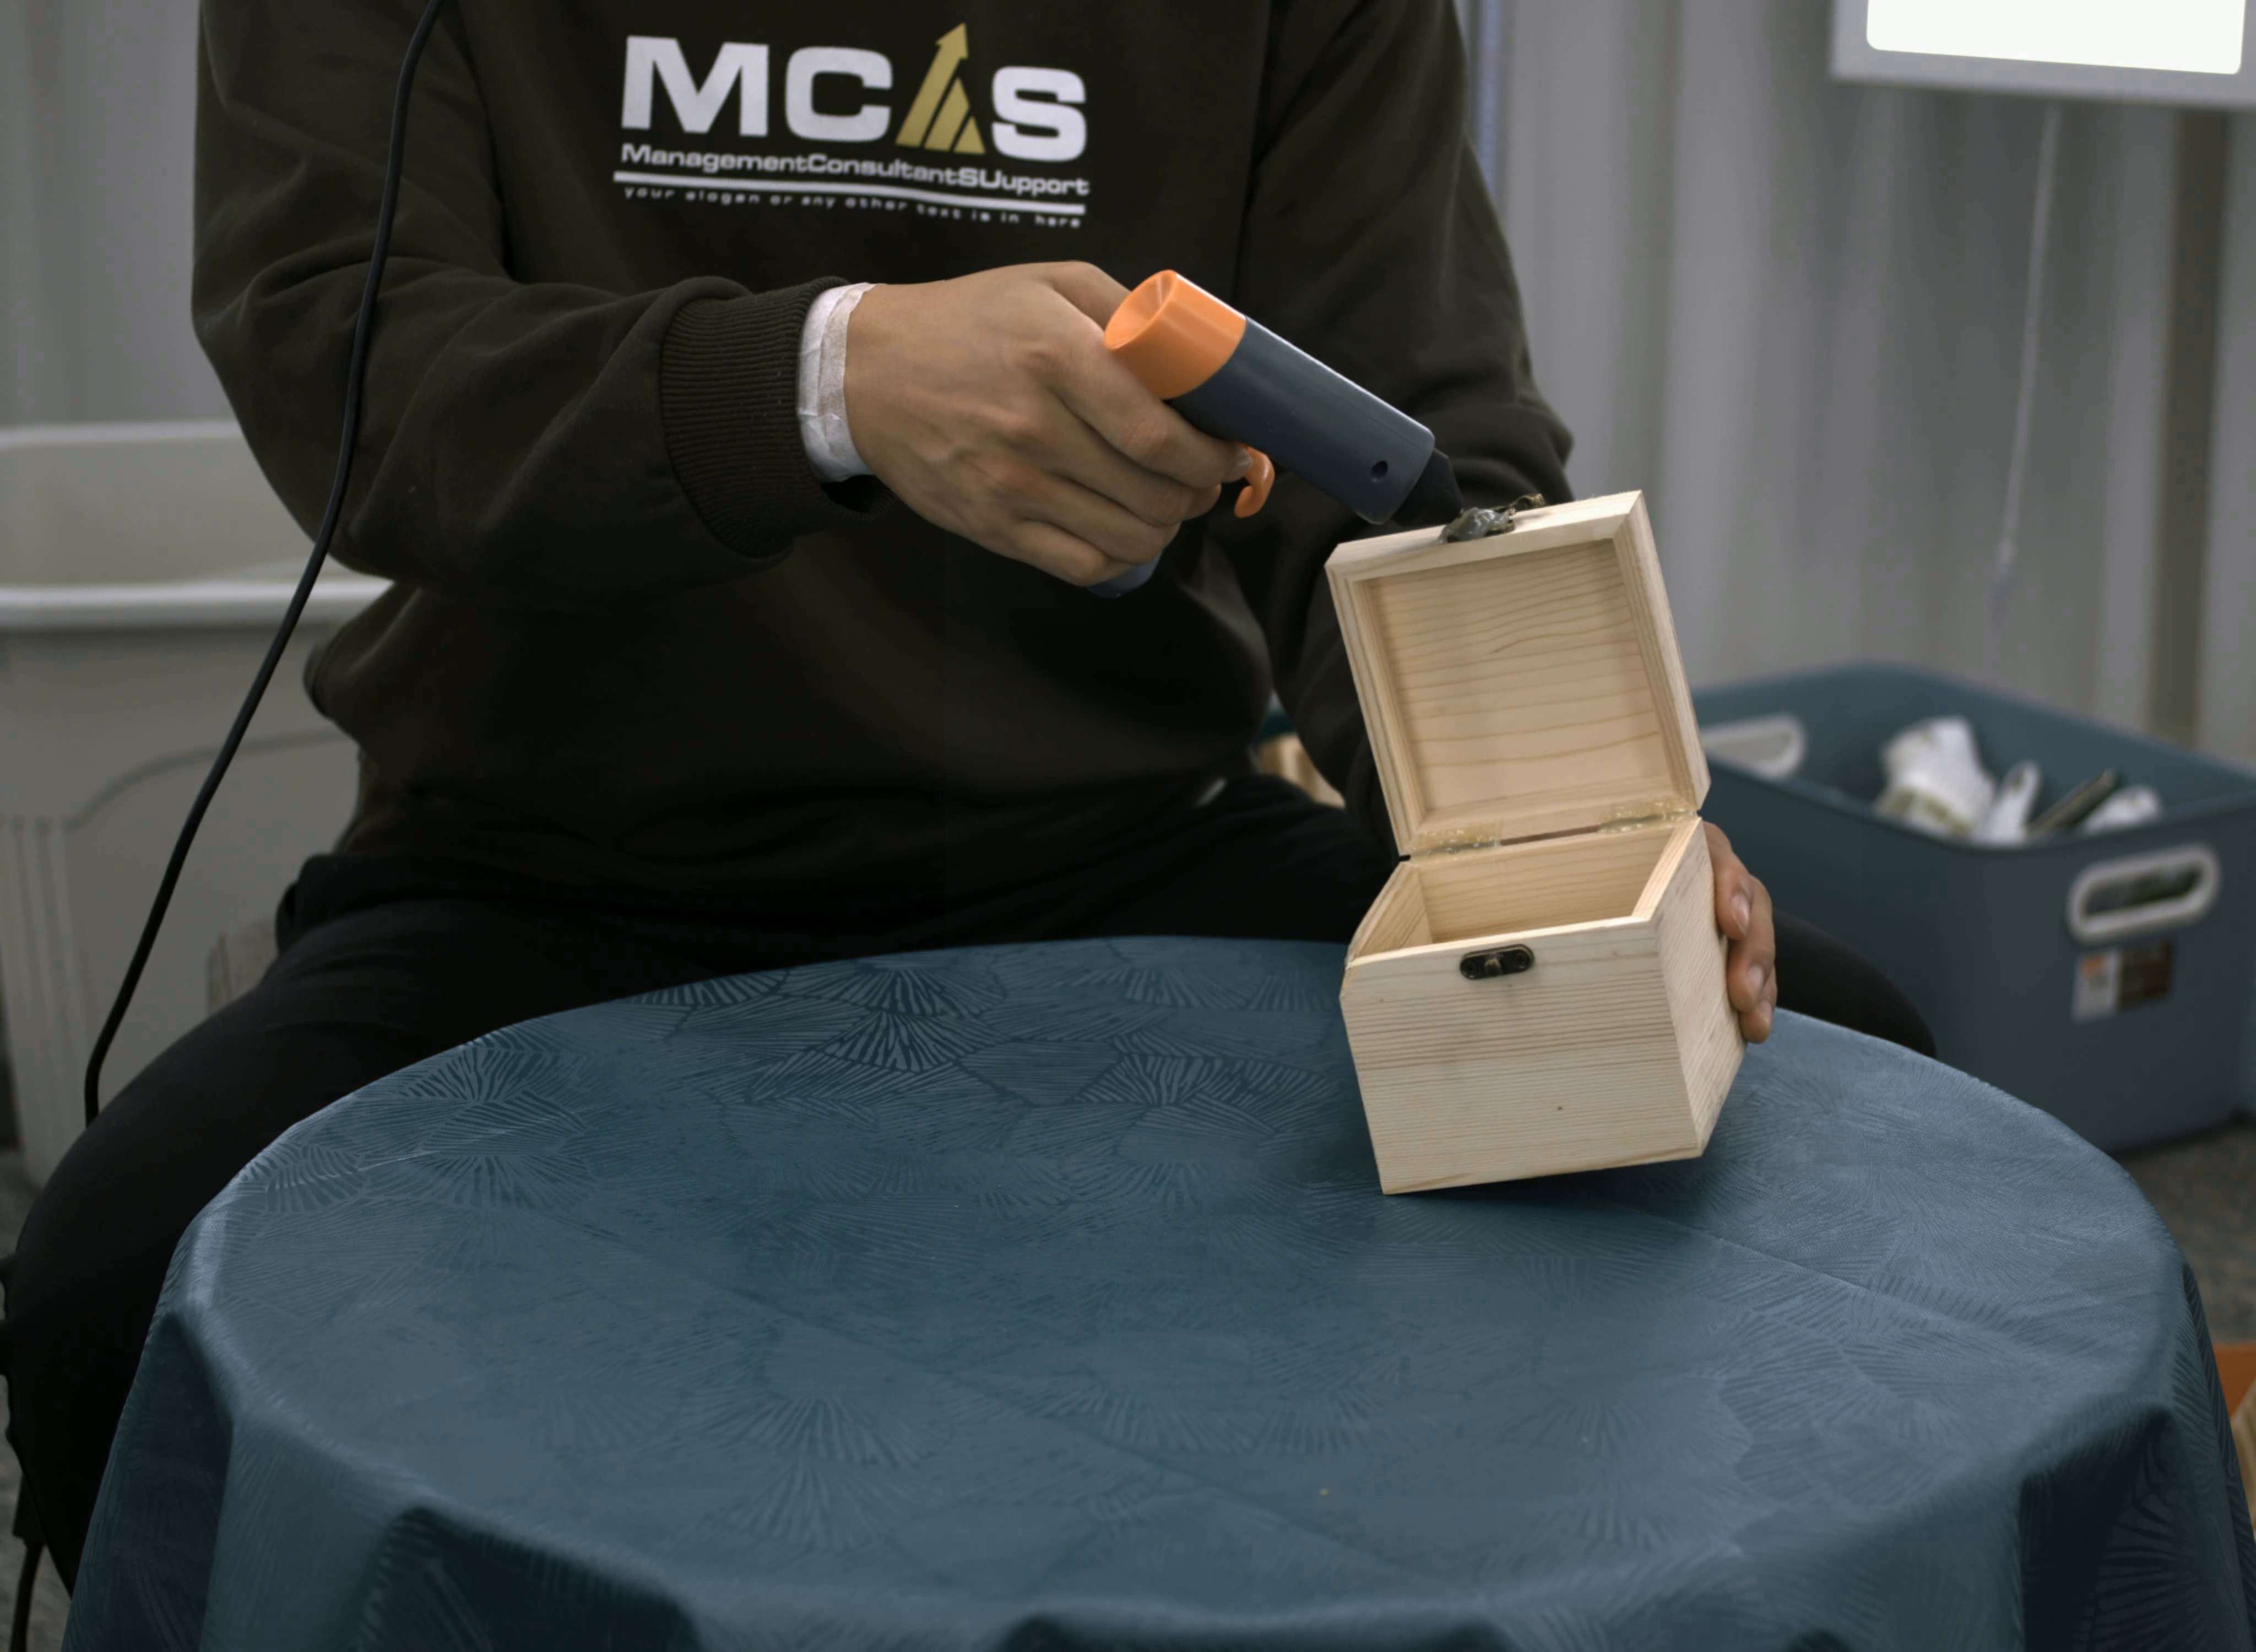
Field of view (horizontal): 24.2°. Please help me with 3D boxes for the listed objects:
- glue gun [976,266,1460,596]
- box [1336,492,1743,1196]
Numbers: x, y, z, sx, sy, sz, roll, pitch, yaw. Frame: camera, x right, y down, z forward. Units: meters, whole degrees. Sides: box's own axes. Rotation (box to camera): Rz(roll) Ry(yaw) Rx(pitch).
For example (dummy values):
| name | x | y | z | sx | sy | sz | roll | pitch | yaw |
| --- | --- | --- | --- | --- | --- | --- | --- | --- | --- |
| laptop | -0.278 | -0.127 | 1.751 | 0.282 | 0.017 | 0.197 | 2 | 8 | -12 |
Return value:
| name | x | y | z | sx | sy | sz | roll | pitch | yaw |
| --- | --- | --- | --- | --- | --- | --- | --- | --- | --- |
| glue gun | 0.026 | -0.118 | 1.672 | 0.139 | 0.119 | 0.041 | -19 | 36 | 47 |
| box | 0.121 | 0.004 | 1.641 | 0.102 | 0.186 | 0.133 | -8 | 17 | 16 |
